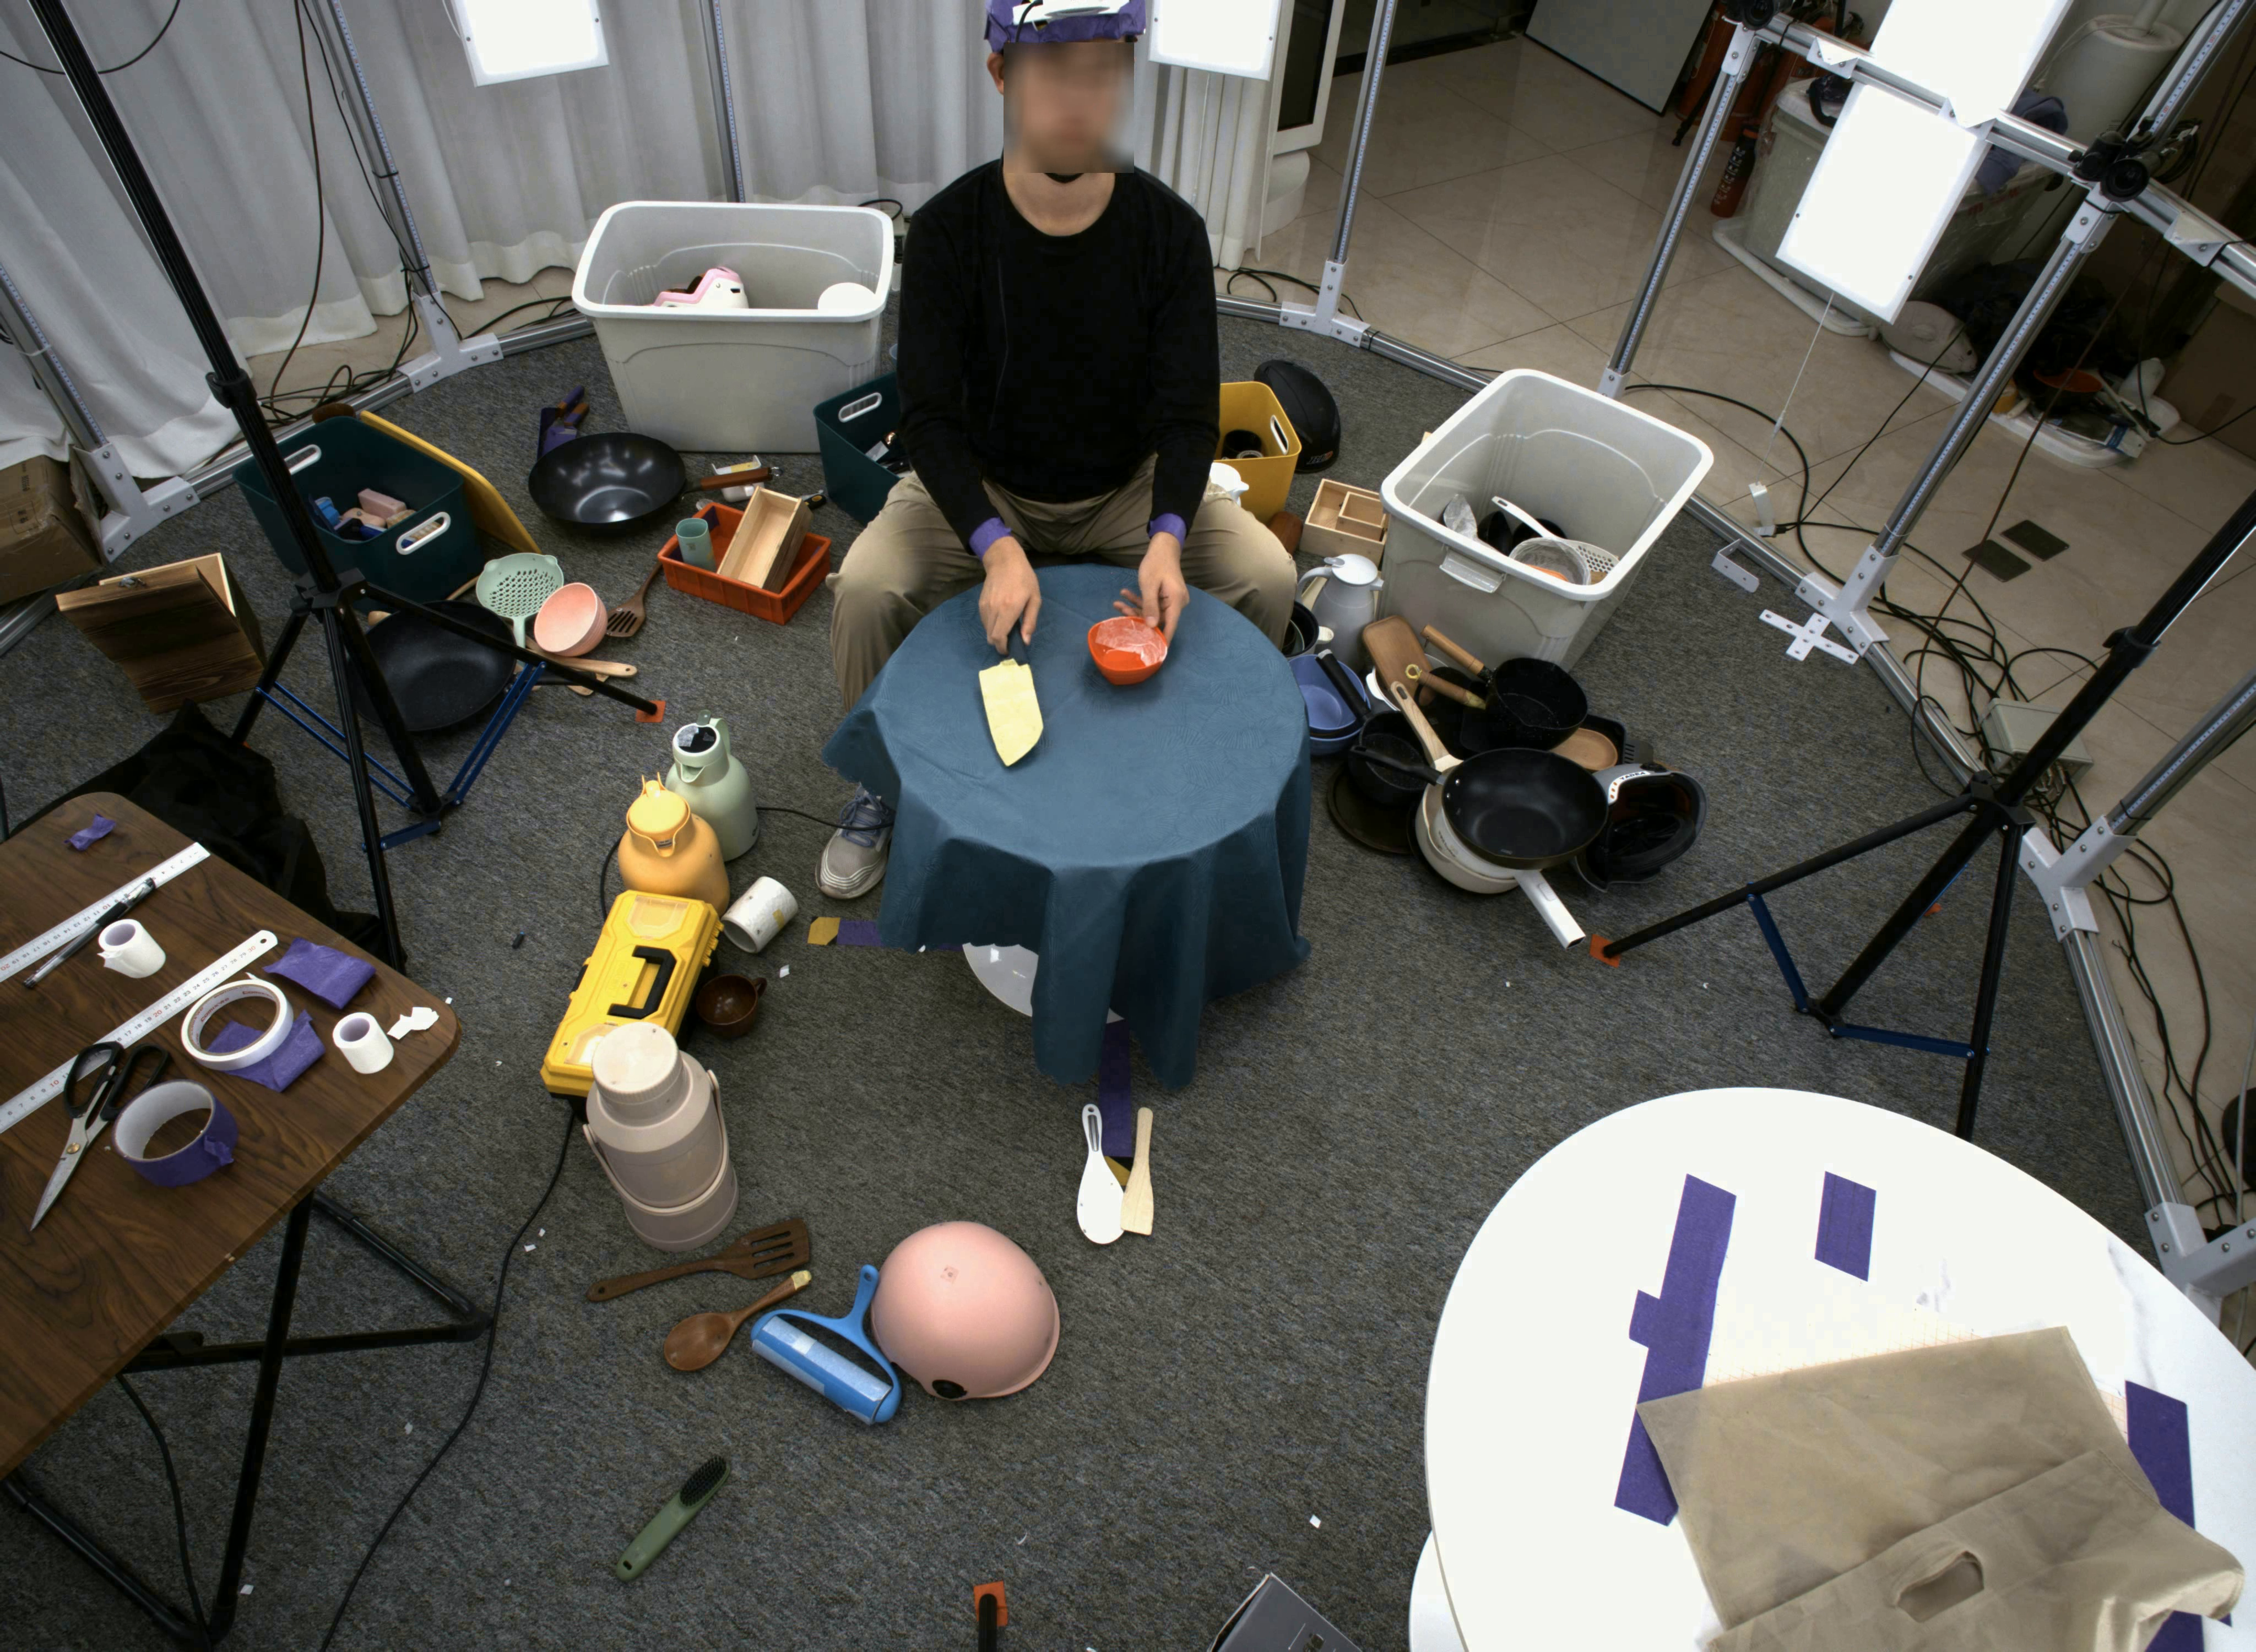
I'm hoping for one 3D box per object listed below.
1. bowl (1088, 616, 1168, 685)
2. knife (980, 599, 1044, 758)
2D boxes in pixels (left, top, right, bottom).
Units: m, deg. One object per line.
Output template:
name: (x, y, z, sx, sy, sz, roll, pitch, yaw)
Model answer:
bowl: (-0.001, -0.247, 1.849, 0.119, 0.050, 0.122, 1, 51, -1)
knife: (-0.167, -0.209, 1.803, 0.081, 0.026, 0.296, -14, 54, 4)
